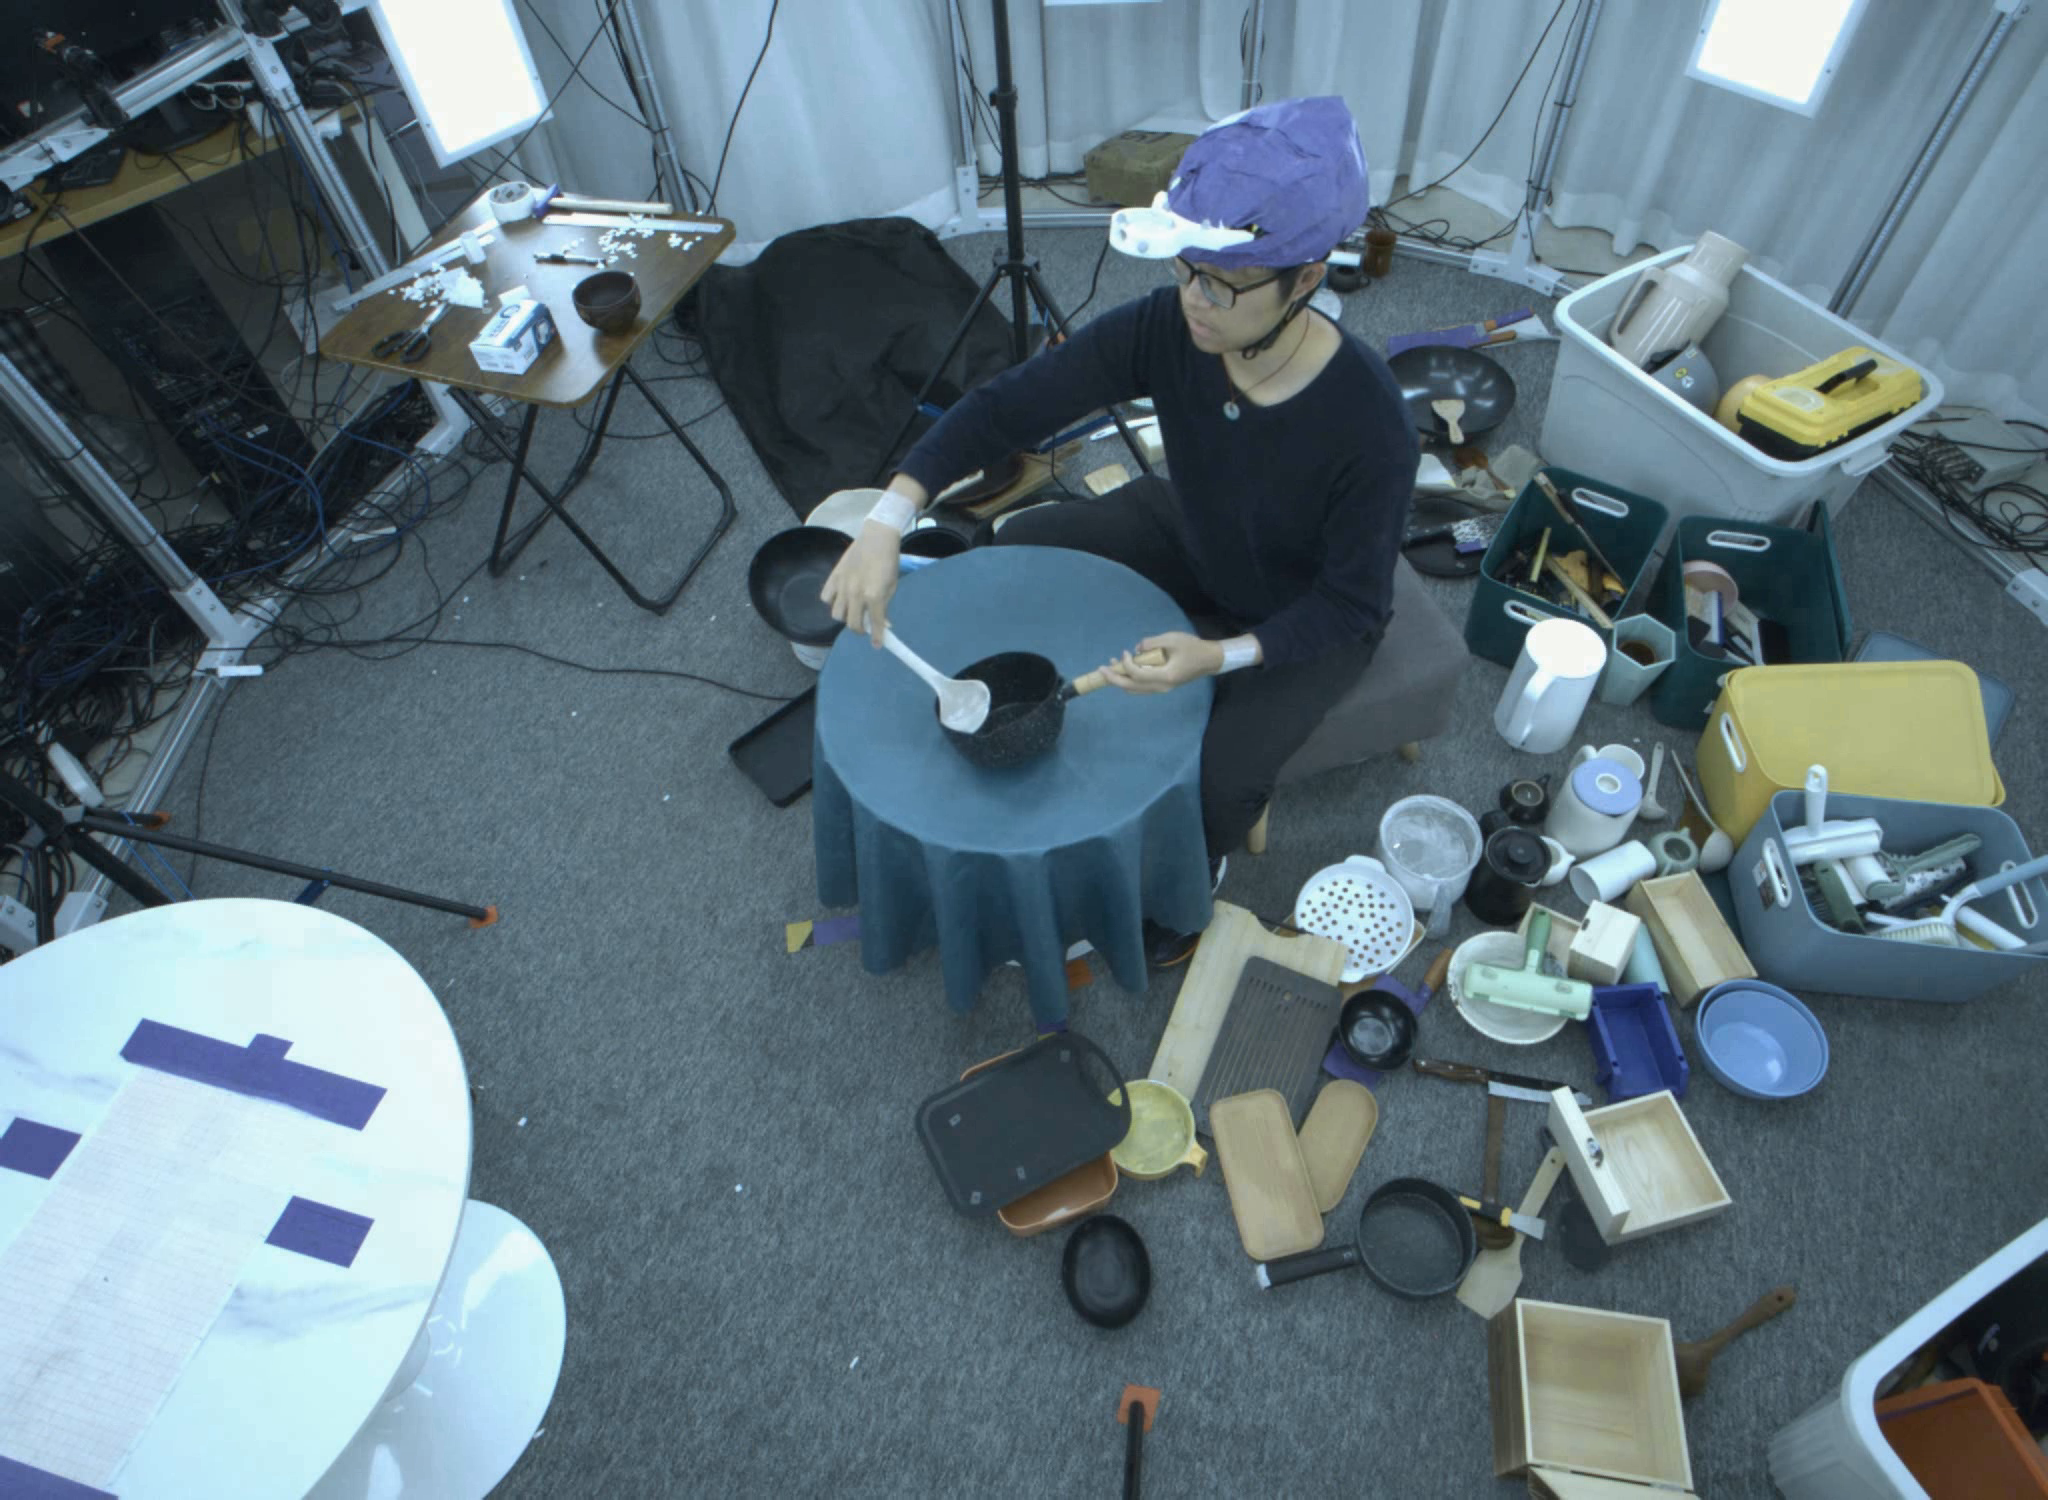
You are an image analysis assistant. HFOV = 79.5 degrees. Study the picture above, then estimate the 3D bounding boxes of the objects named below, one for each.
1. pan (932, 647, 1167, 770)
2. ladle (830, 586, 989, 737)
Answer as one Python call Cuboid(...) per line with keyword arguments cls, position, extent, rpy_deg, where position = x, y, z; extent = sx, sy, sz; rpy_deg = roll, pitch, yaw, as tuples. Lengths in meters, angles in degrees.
Cuboid(cls="pan", position=(0.043, -0.072, 1.721), extent=(0.339, 0.110, 0.206), rpy_deg=(-9, 37, 15))
Cuboid(cls="ladle", position=(-0.164, -0.124, 1.677), extent=(0.278, 0.089, 0.069), rpy_deg=(40, 21, -16))
